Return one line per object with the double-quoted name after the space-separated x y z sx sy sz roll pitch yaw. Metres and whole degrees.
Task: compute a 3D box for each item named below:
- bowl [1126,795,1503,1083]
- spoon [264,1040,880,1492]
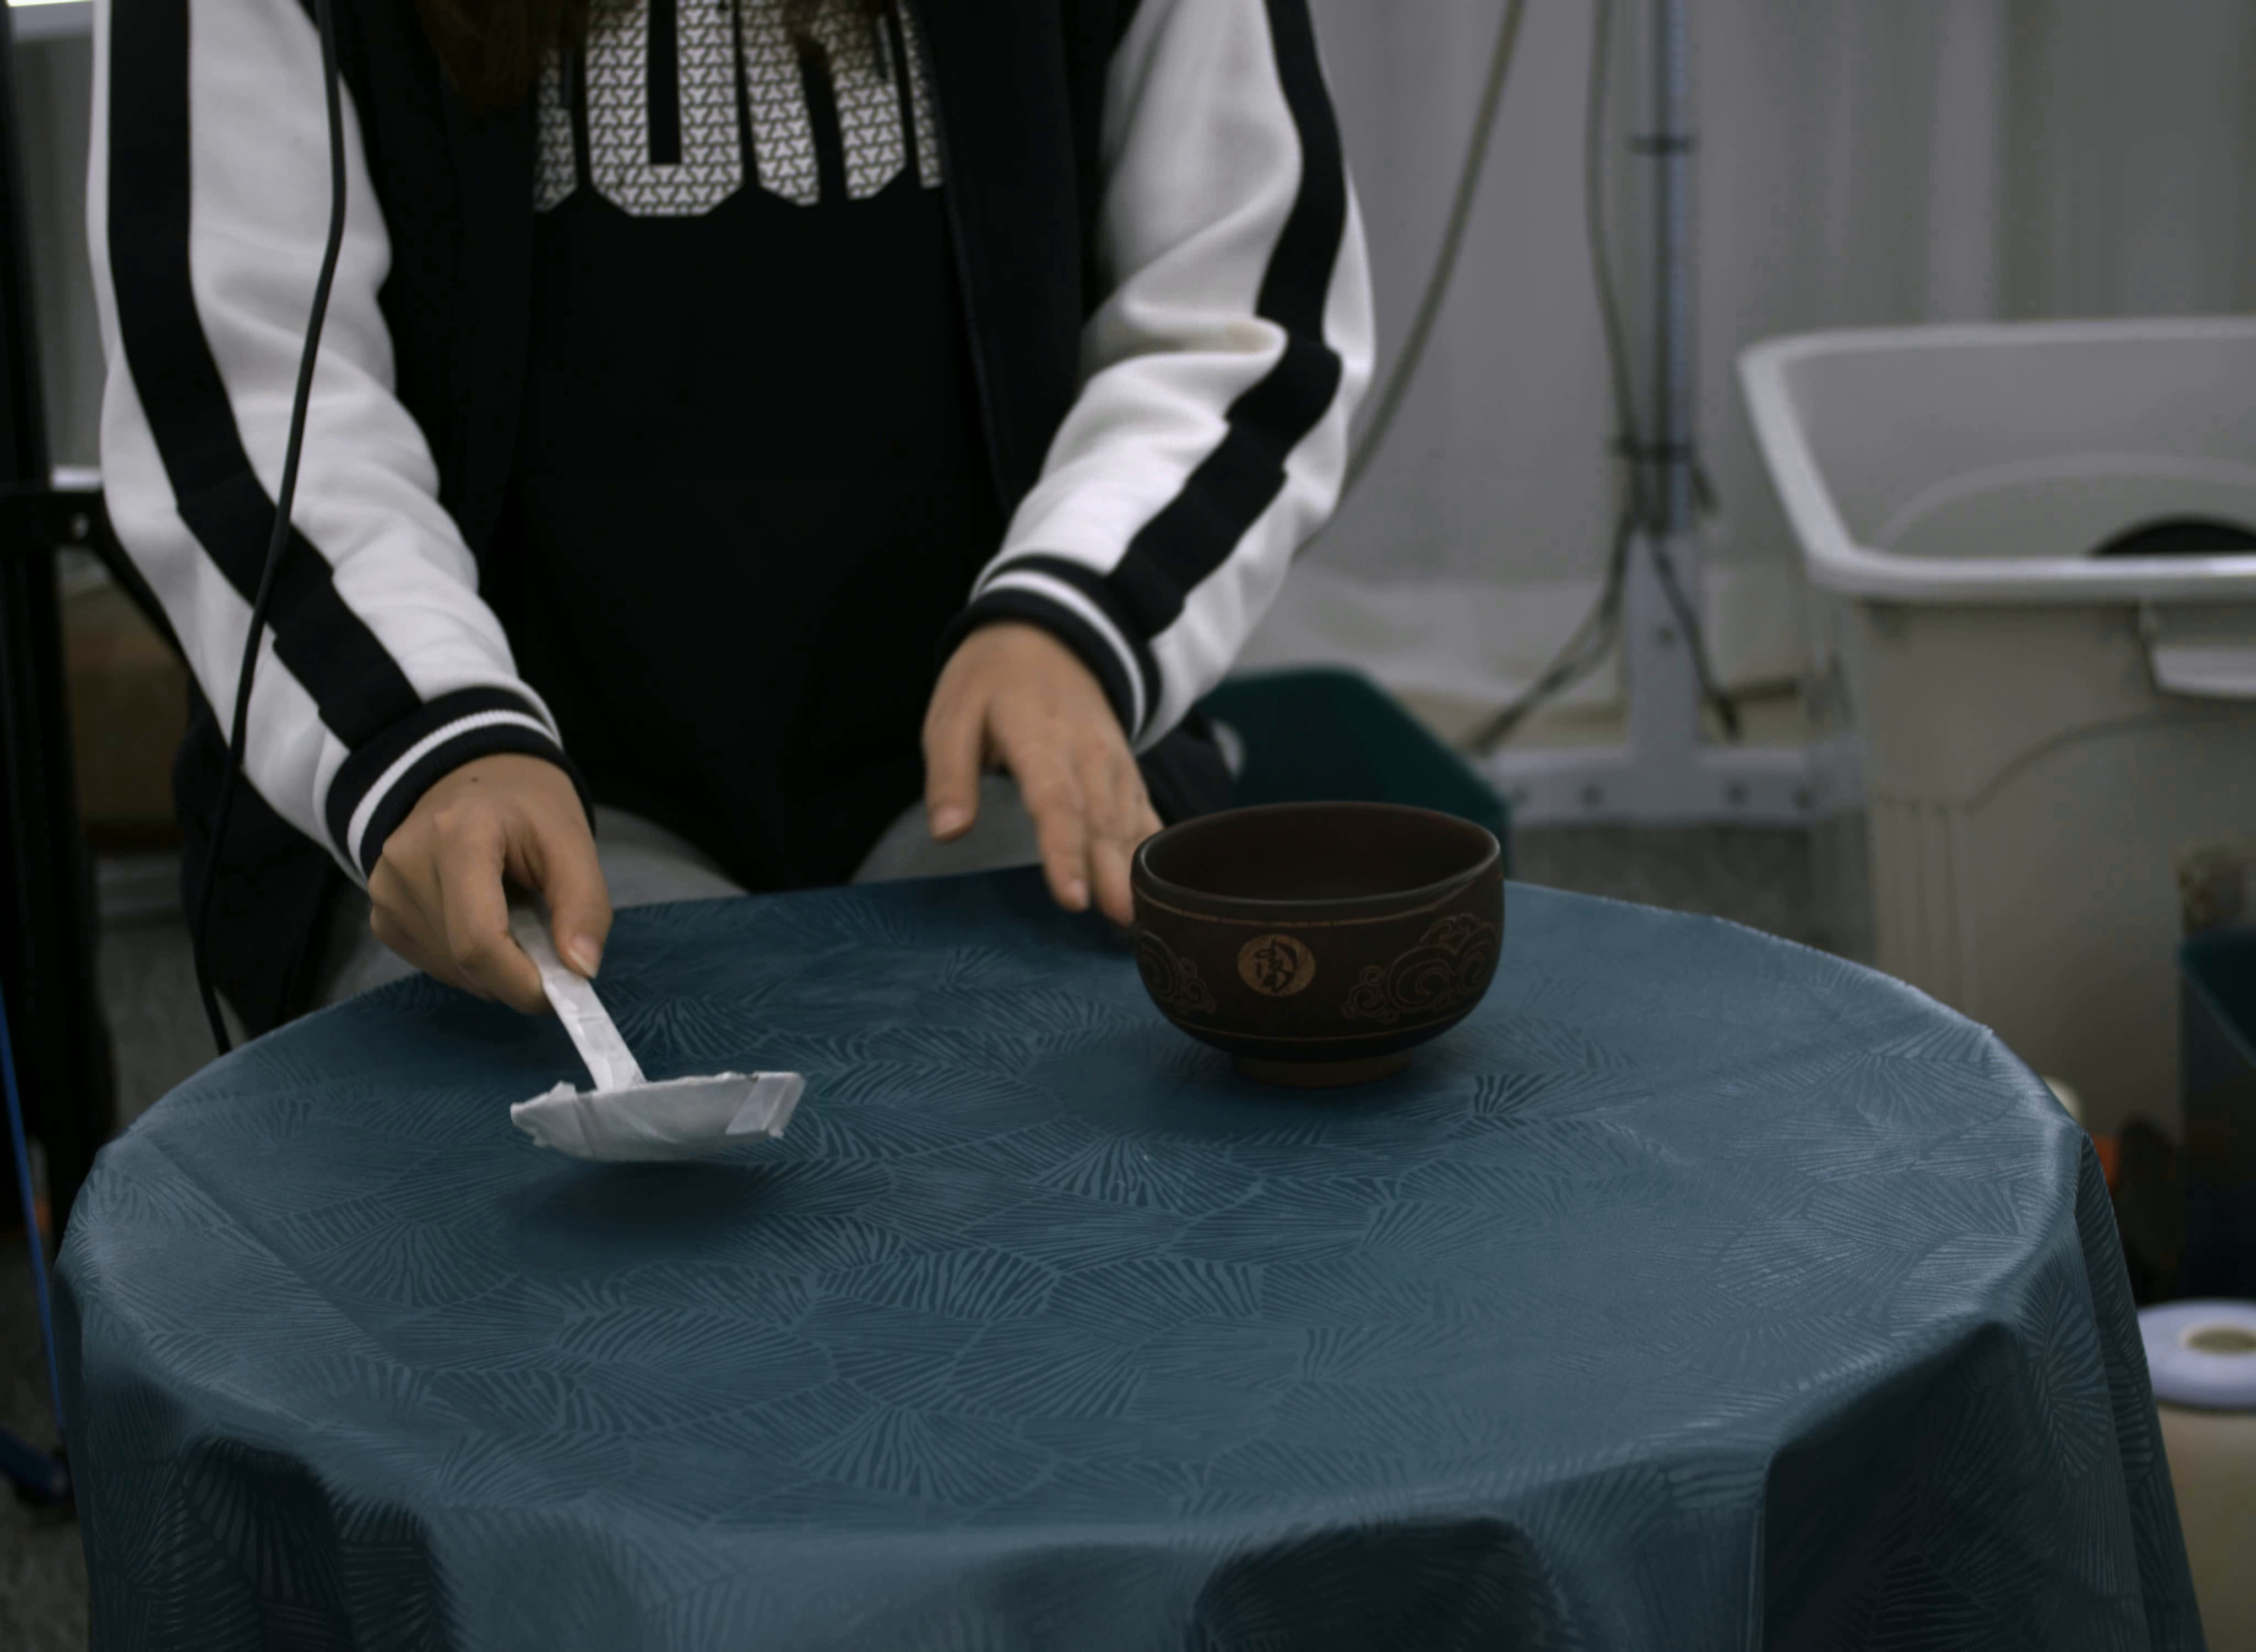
0.059 0.039 1.658 0.117 0.070 0.118 -2 15 -1 "bowl"
-0.182 0.143 1.614 0.098 0.280 0.060 11 43 -43 "spoon"
